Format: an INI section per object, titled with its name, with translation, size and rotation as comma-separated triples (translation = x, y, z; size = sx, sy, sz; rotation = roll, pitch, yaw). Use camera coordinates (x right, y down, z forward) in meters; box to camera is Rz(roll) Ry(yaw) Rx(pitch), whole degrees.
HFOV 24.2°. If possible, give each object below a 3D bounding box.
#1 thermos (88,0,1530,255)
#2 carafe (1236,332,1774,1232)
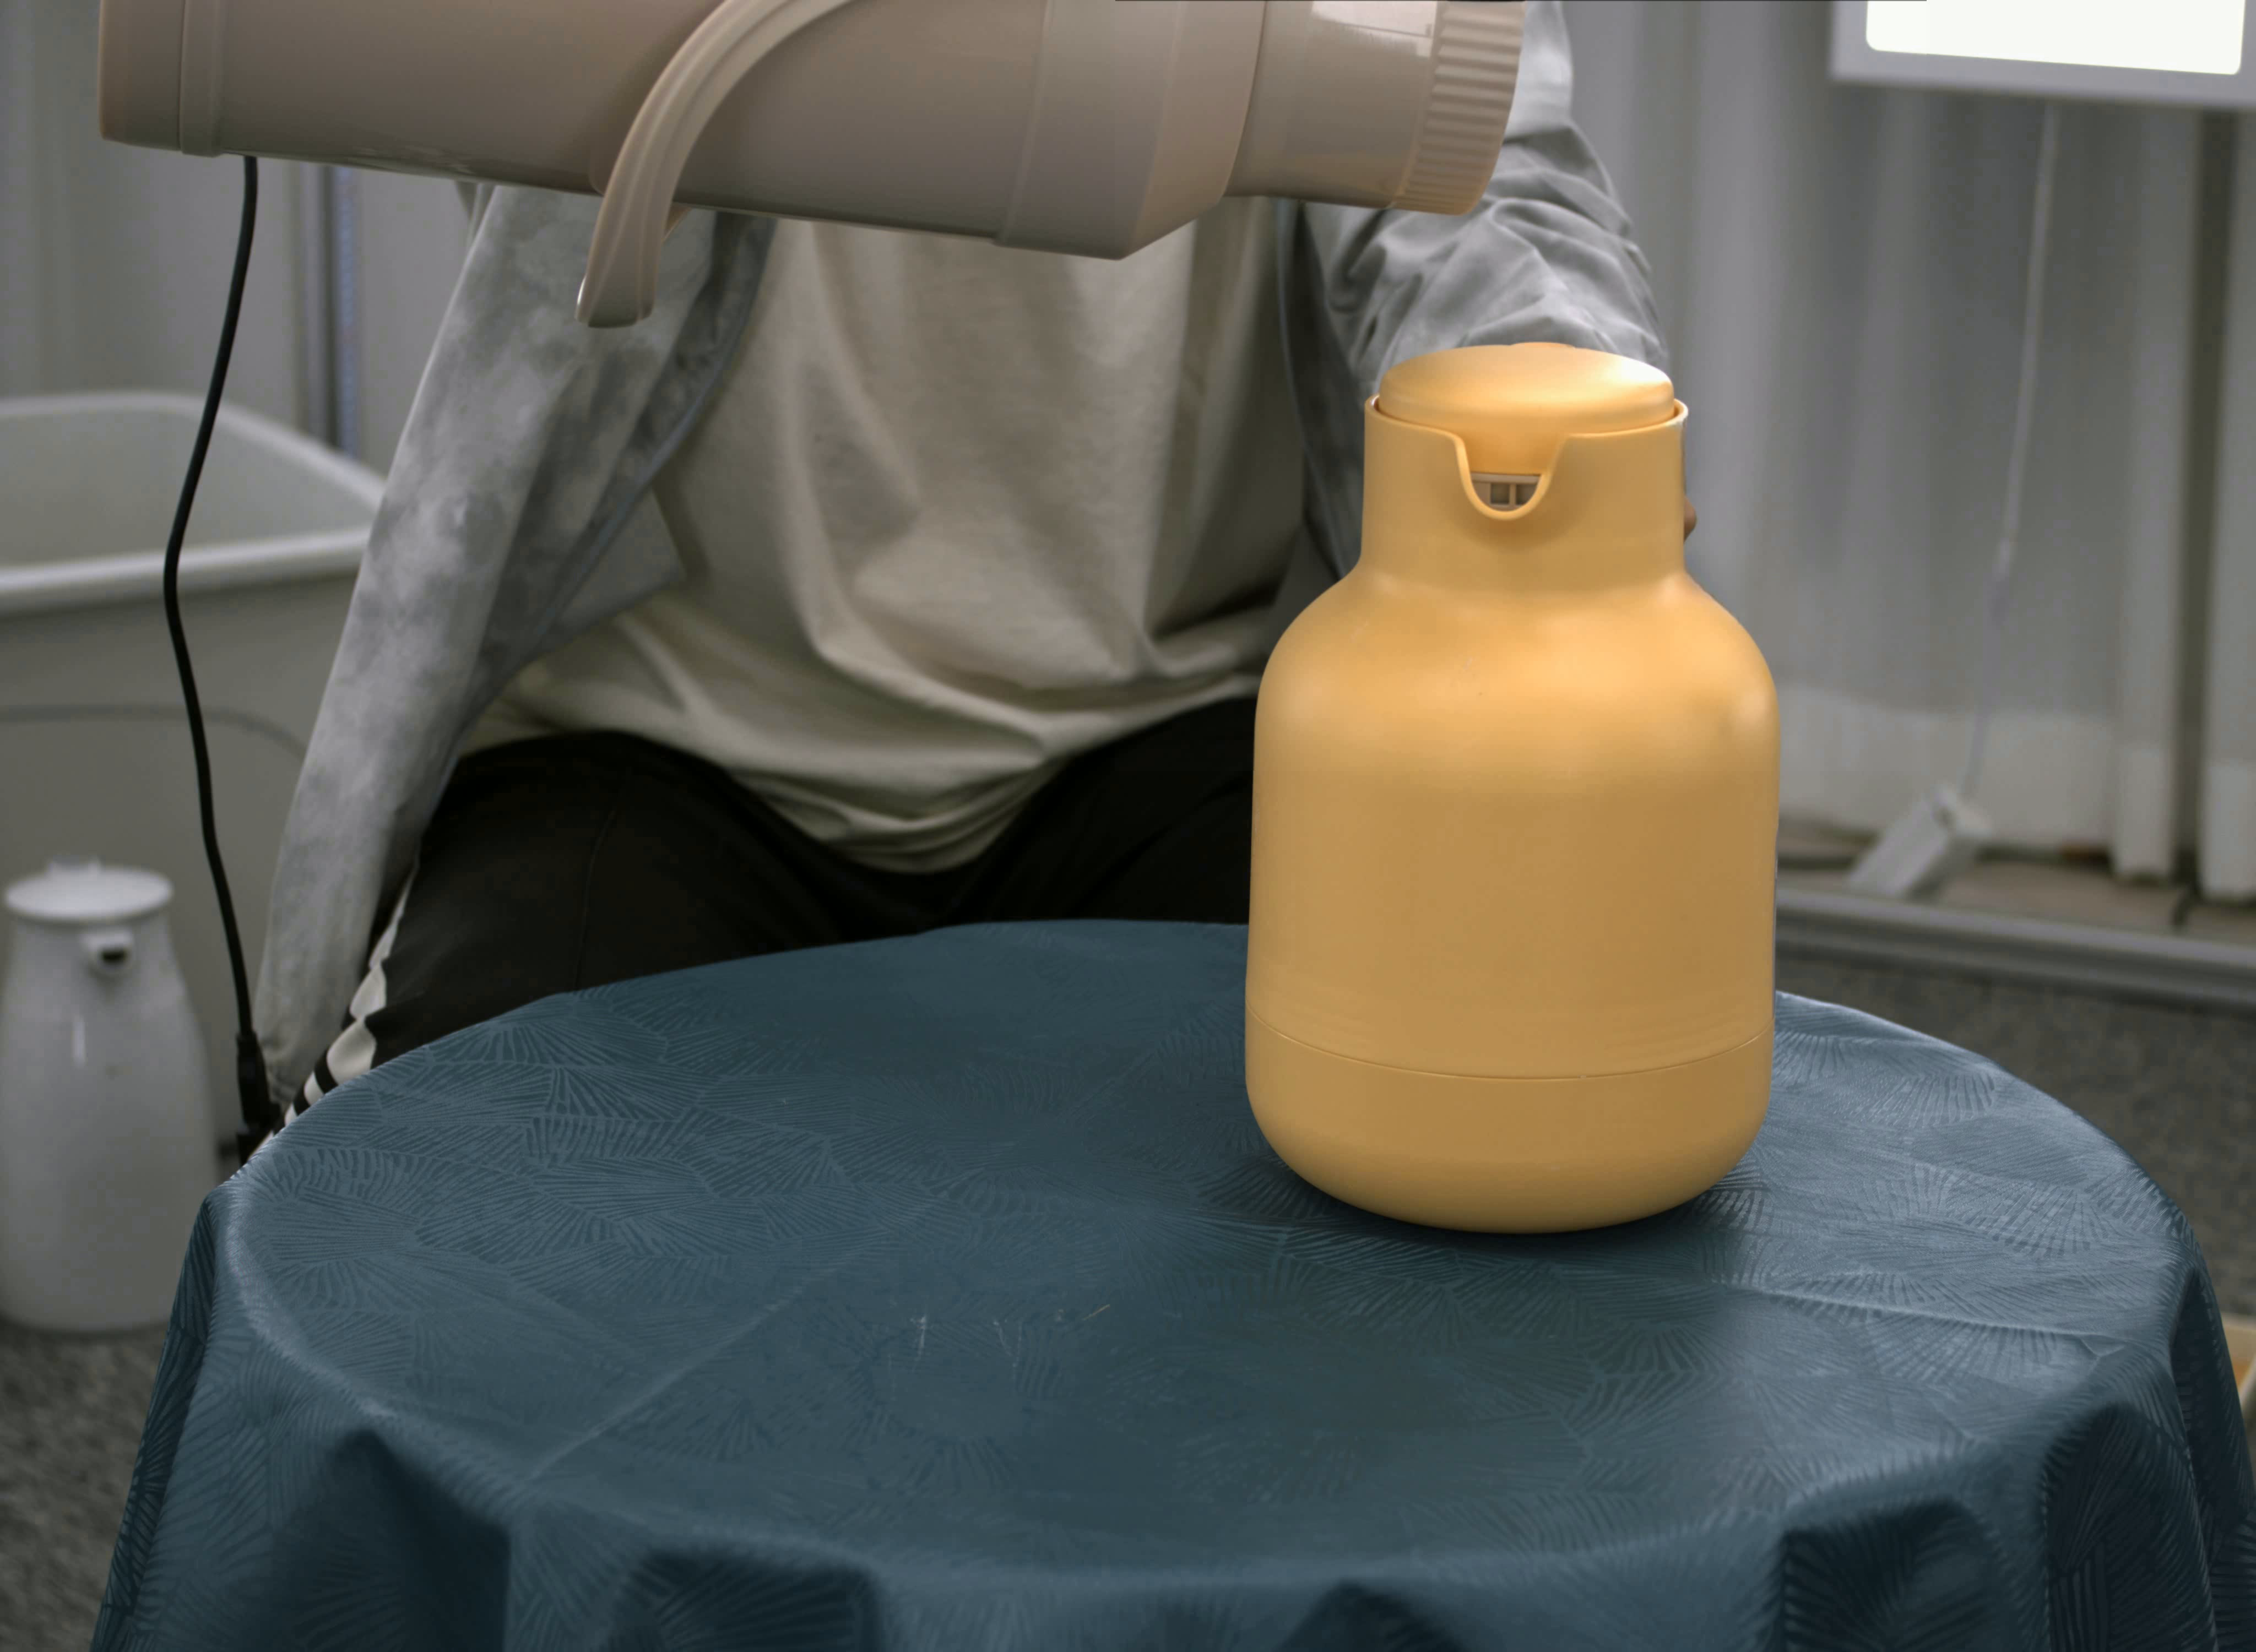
[thermos]
translation = -0.089, -0.268, 1.525
size = 0.406, 0.207, 0.175
rotation = 6, -7, -7
[carafe]
translation = 0.121, -0.022, 1.623
size = 0.162, 0.262, 0.202
rotation = 5, 18, 9
